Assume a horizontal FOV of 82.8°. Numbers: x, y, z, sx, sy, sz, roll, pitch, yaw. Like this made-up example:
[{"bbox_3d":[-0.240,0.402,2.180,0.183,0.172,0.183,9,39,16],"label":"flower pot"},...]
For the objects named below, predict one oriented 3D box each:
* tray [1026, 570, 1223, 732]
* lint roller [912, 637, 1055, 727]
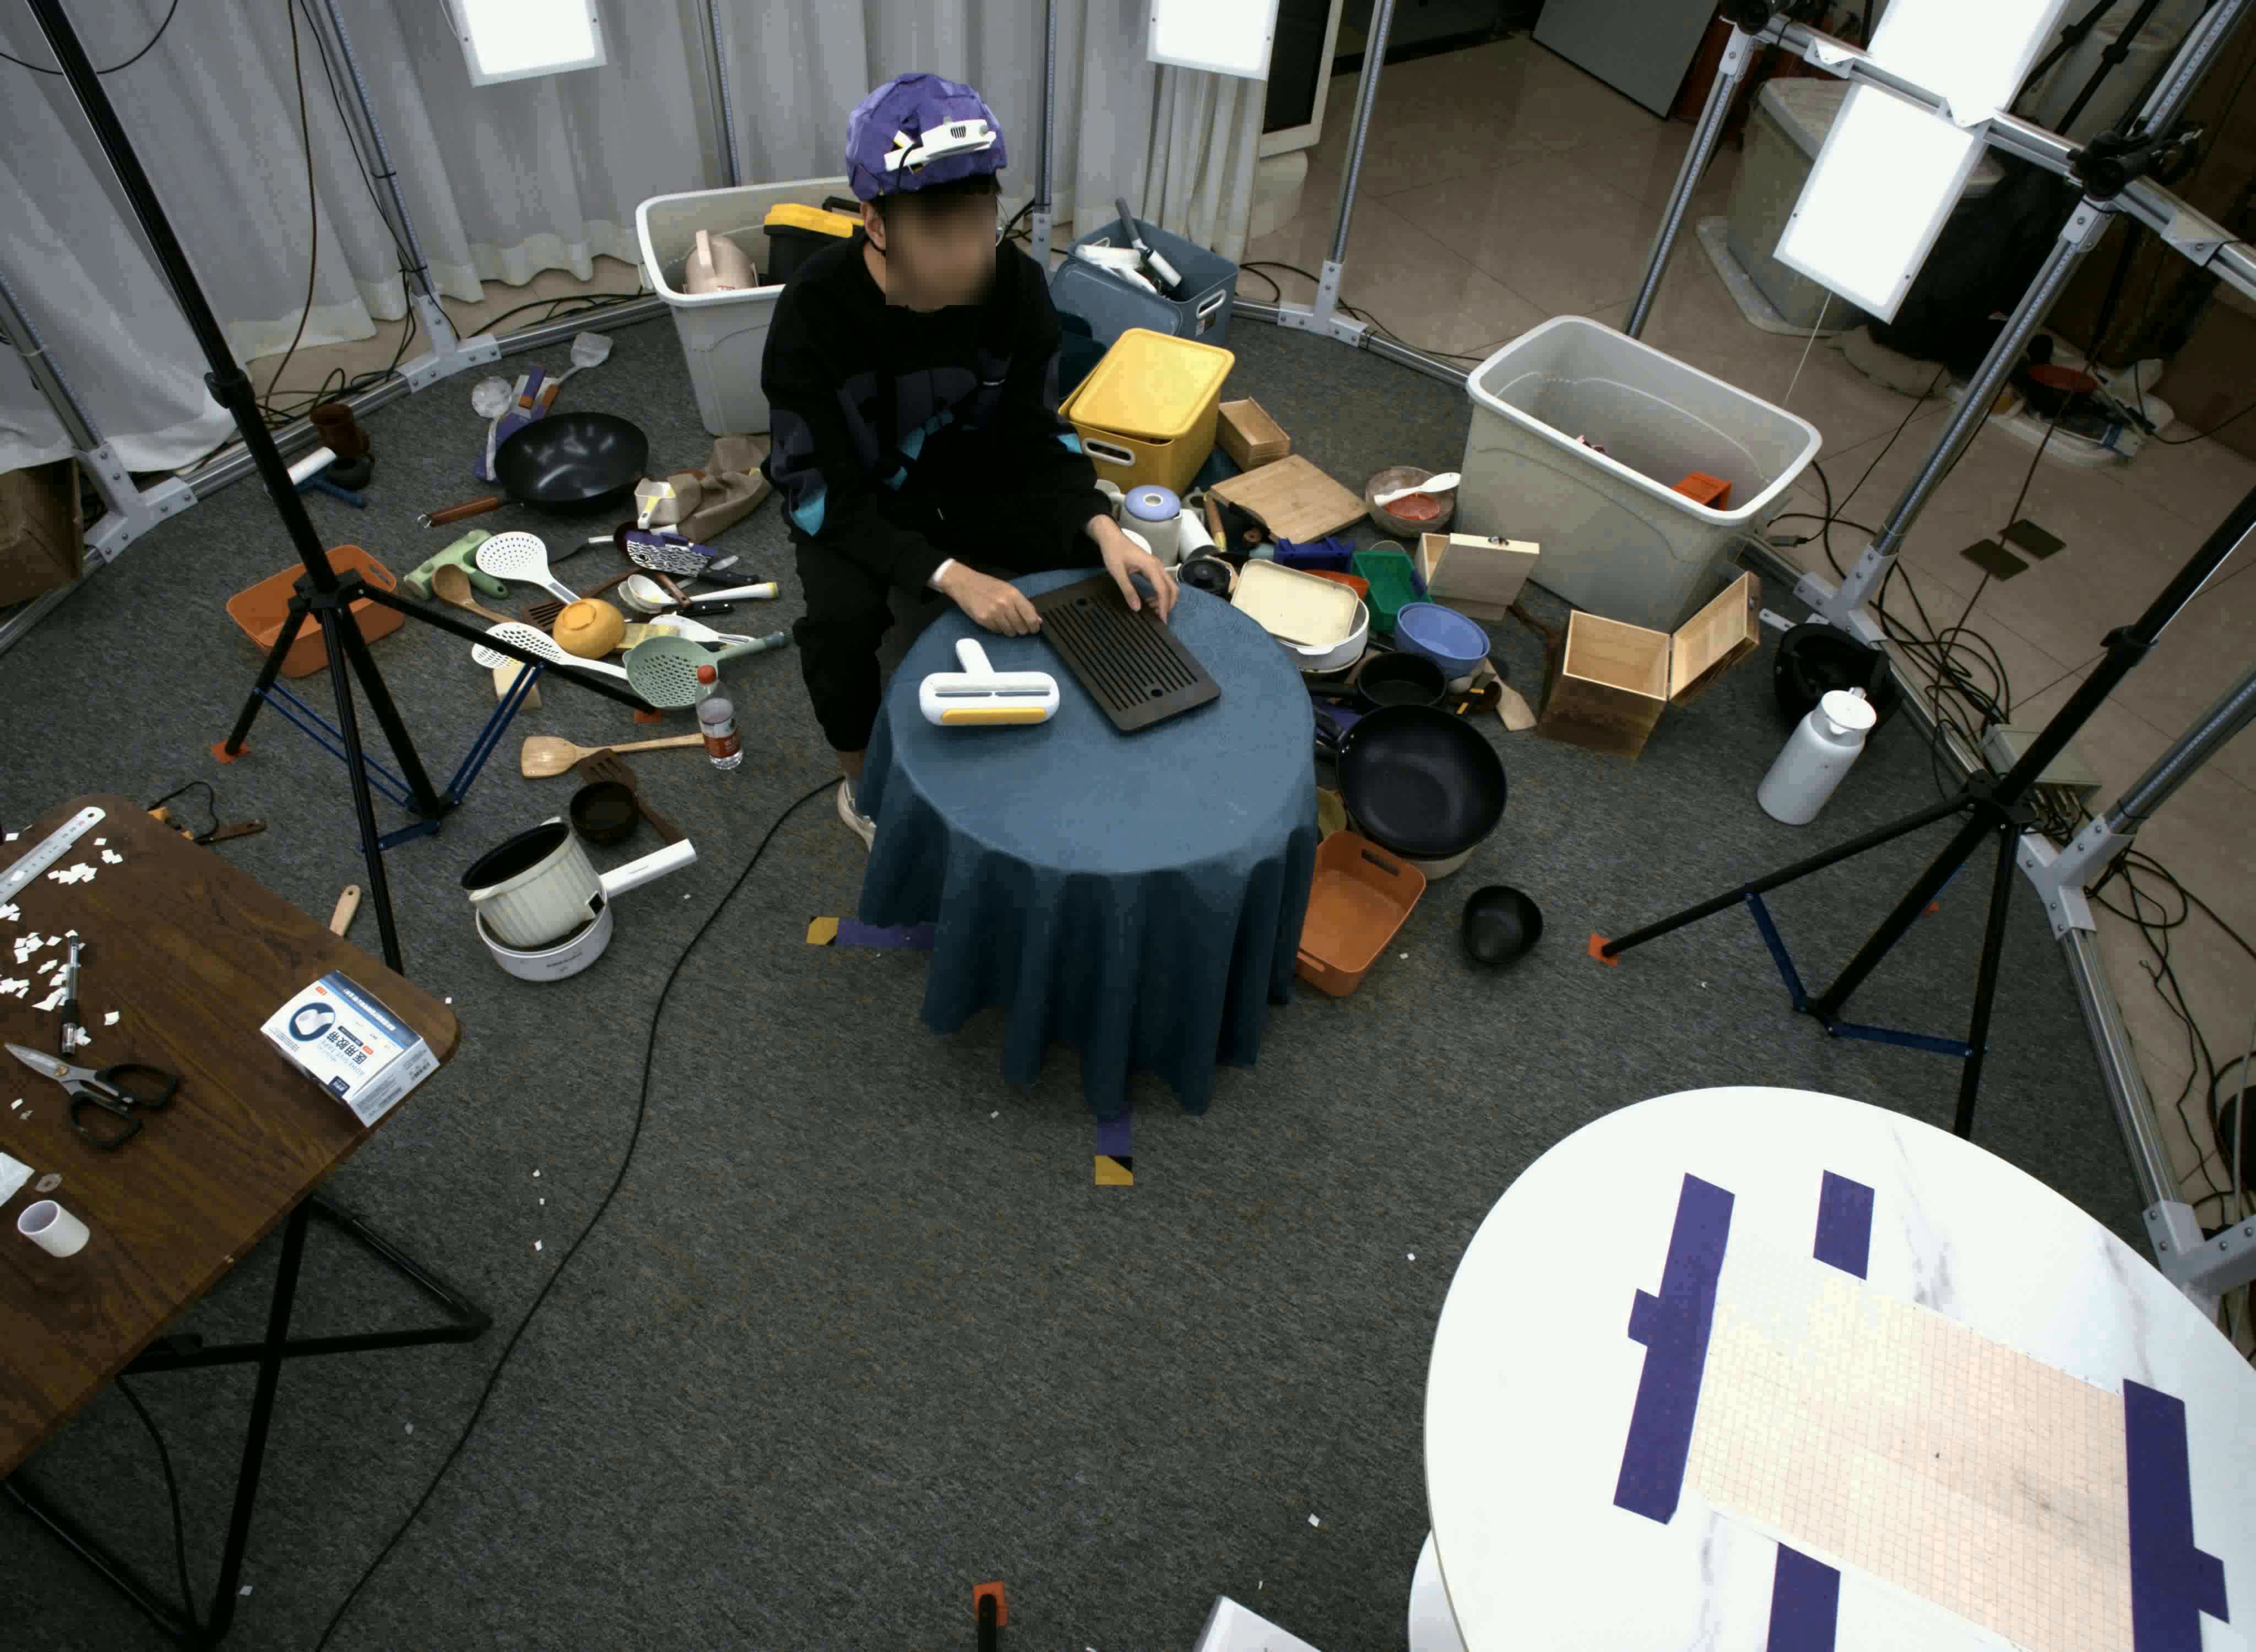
[{"bbox_3d":[-0.009,-0.260,1.881,0.170,0.018,0.312,-22,54,-21],"label":"tray"},{"bbox_3d":[-0.208,-0.212,1.795,0.192,0.072,0.197,-3,48,-13],"label":"lint roller"}]
